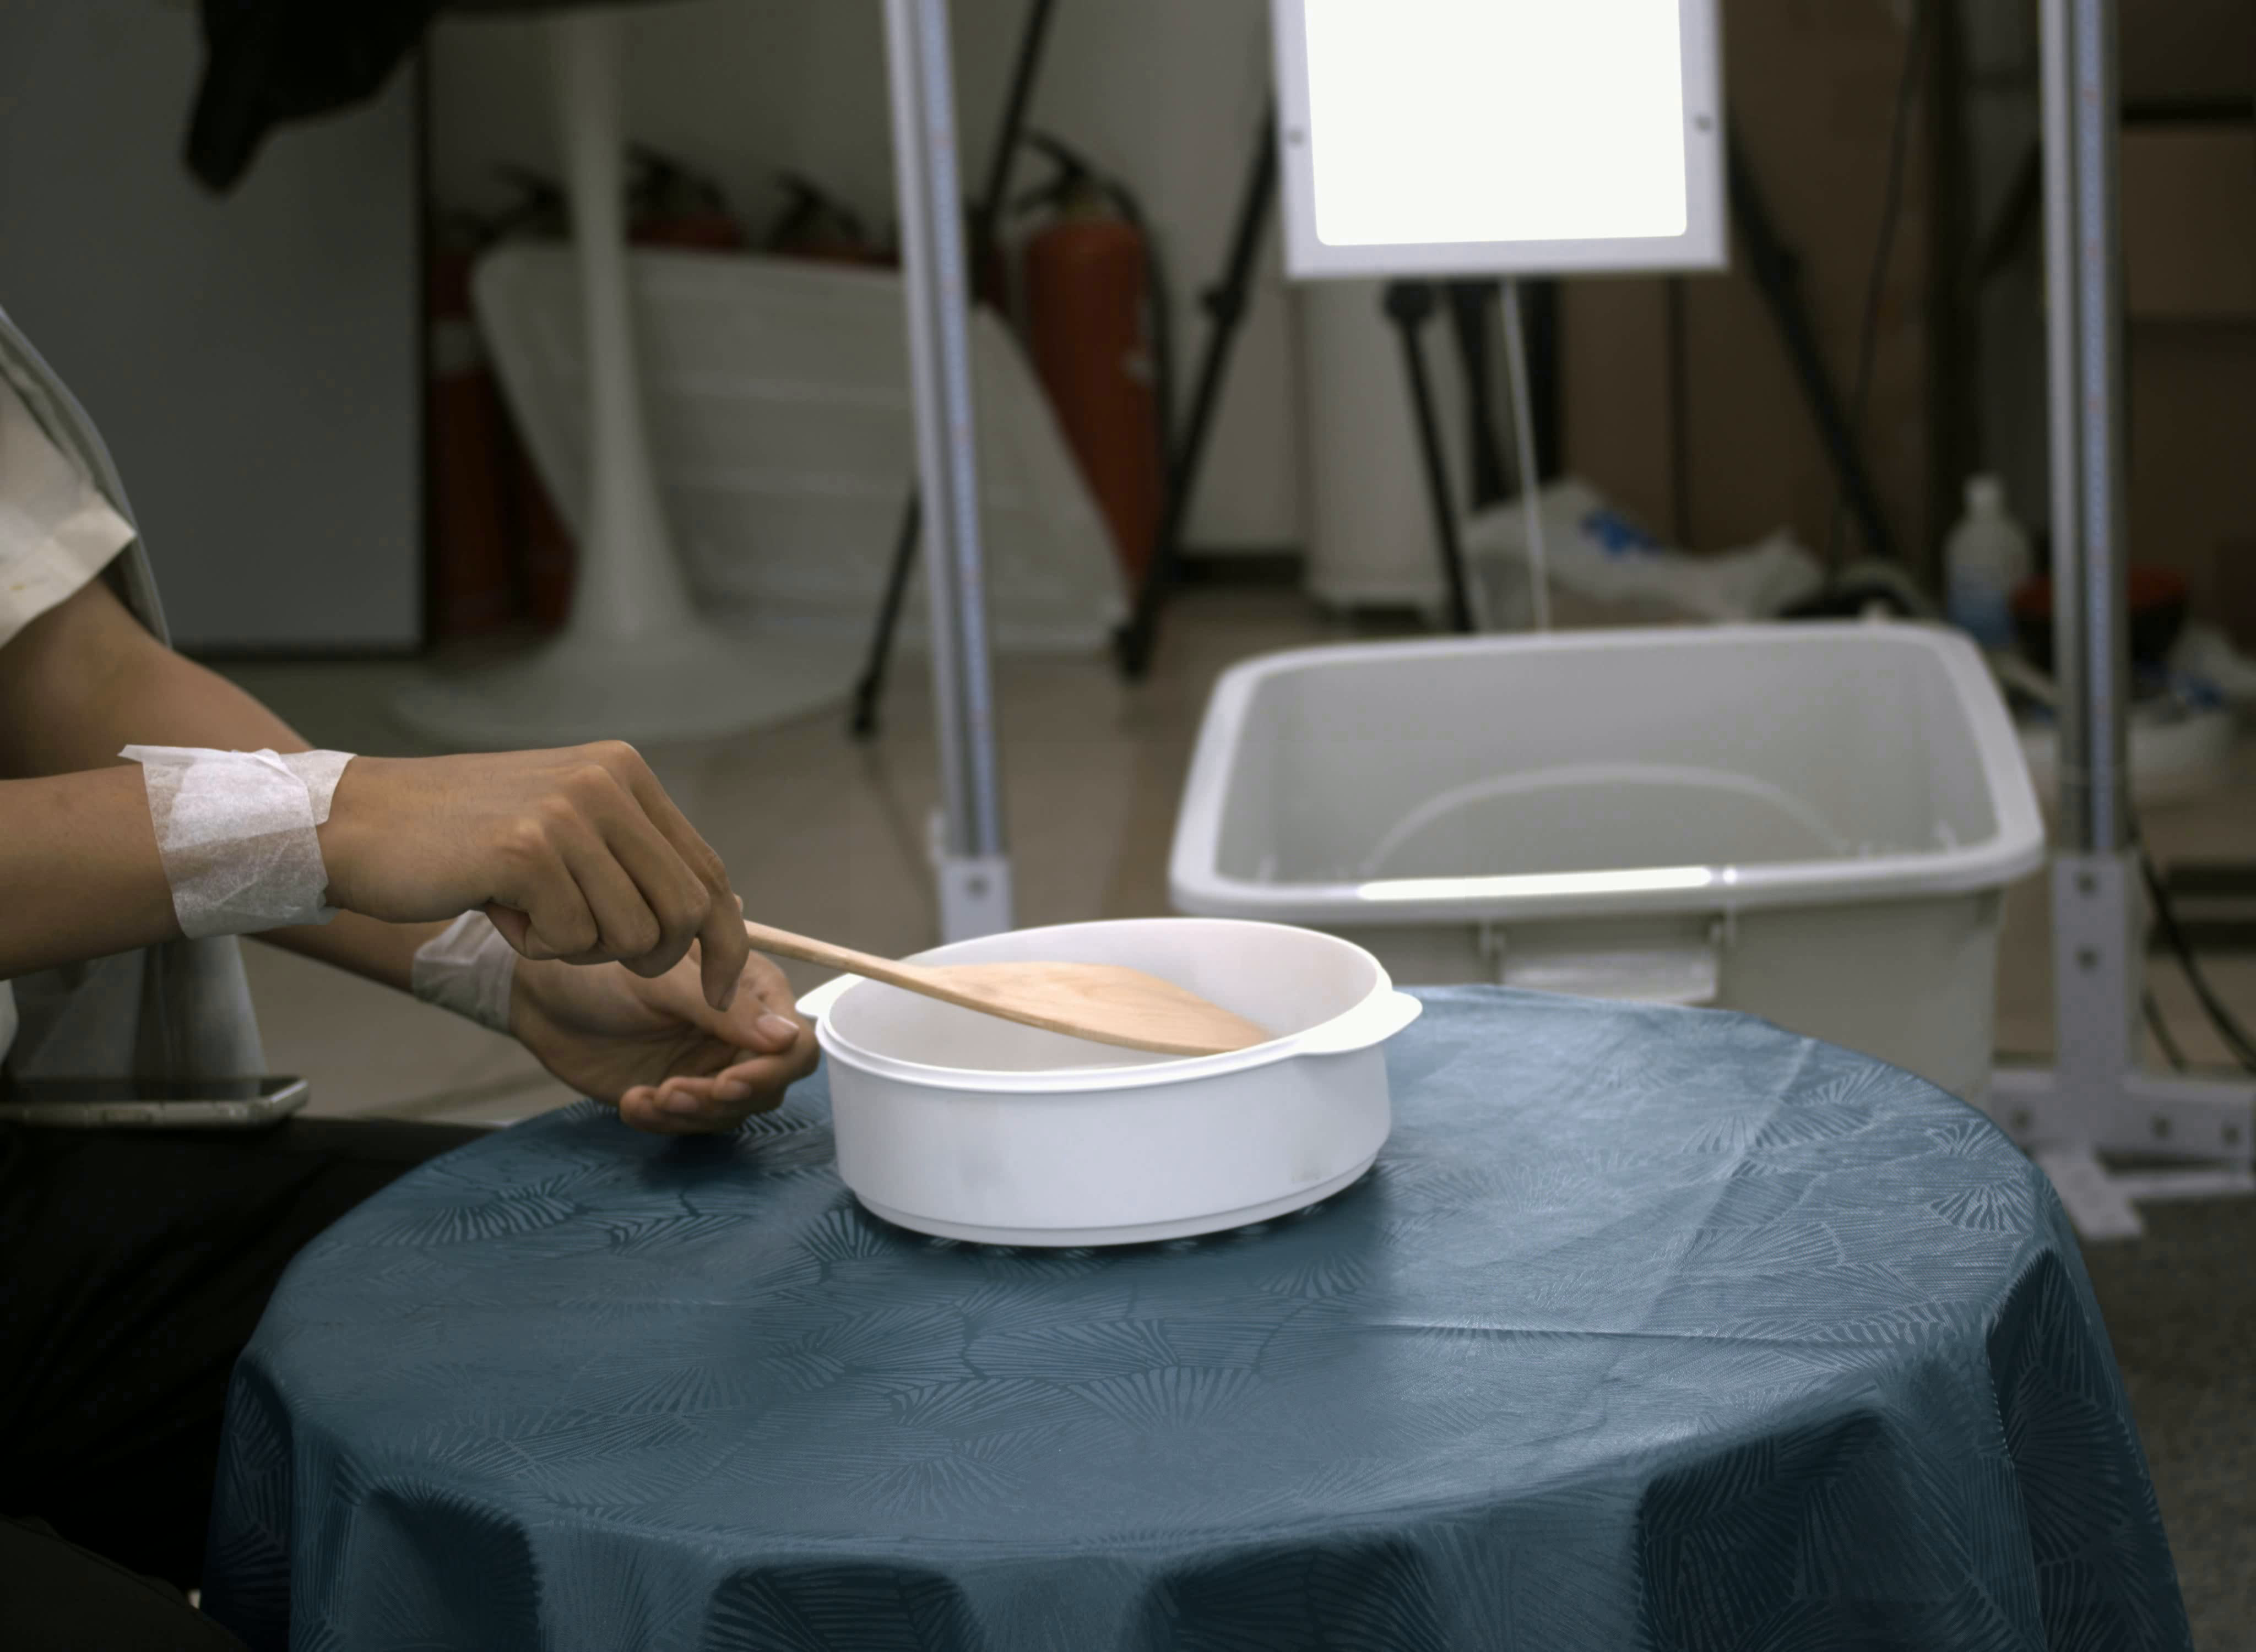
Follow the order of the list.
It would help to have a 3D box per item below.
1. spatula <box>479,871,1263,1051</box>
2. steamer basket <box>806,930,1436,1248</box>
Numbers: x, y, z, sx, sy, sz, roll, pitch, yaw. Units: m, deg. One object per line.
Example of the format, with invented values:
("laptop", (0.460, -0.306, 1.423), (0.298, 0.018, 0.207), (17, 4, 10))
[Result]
("spatula", (-0.085, 0.043, 1.859), (0.320, 0.016, 0.081), (14, 11, -41))
("steamer basket", (-0.002, 0.091, 1.906), (0.235, 0.069, 0.197), (2, 14, 30))
